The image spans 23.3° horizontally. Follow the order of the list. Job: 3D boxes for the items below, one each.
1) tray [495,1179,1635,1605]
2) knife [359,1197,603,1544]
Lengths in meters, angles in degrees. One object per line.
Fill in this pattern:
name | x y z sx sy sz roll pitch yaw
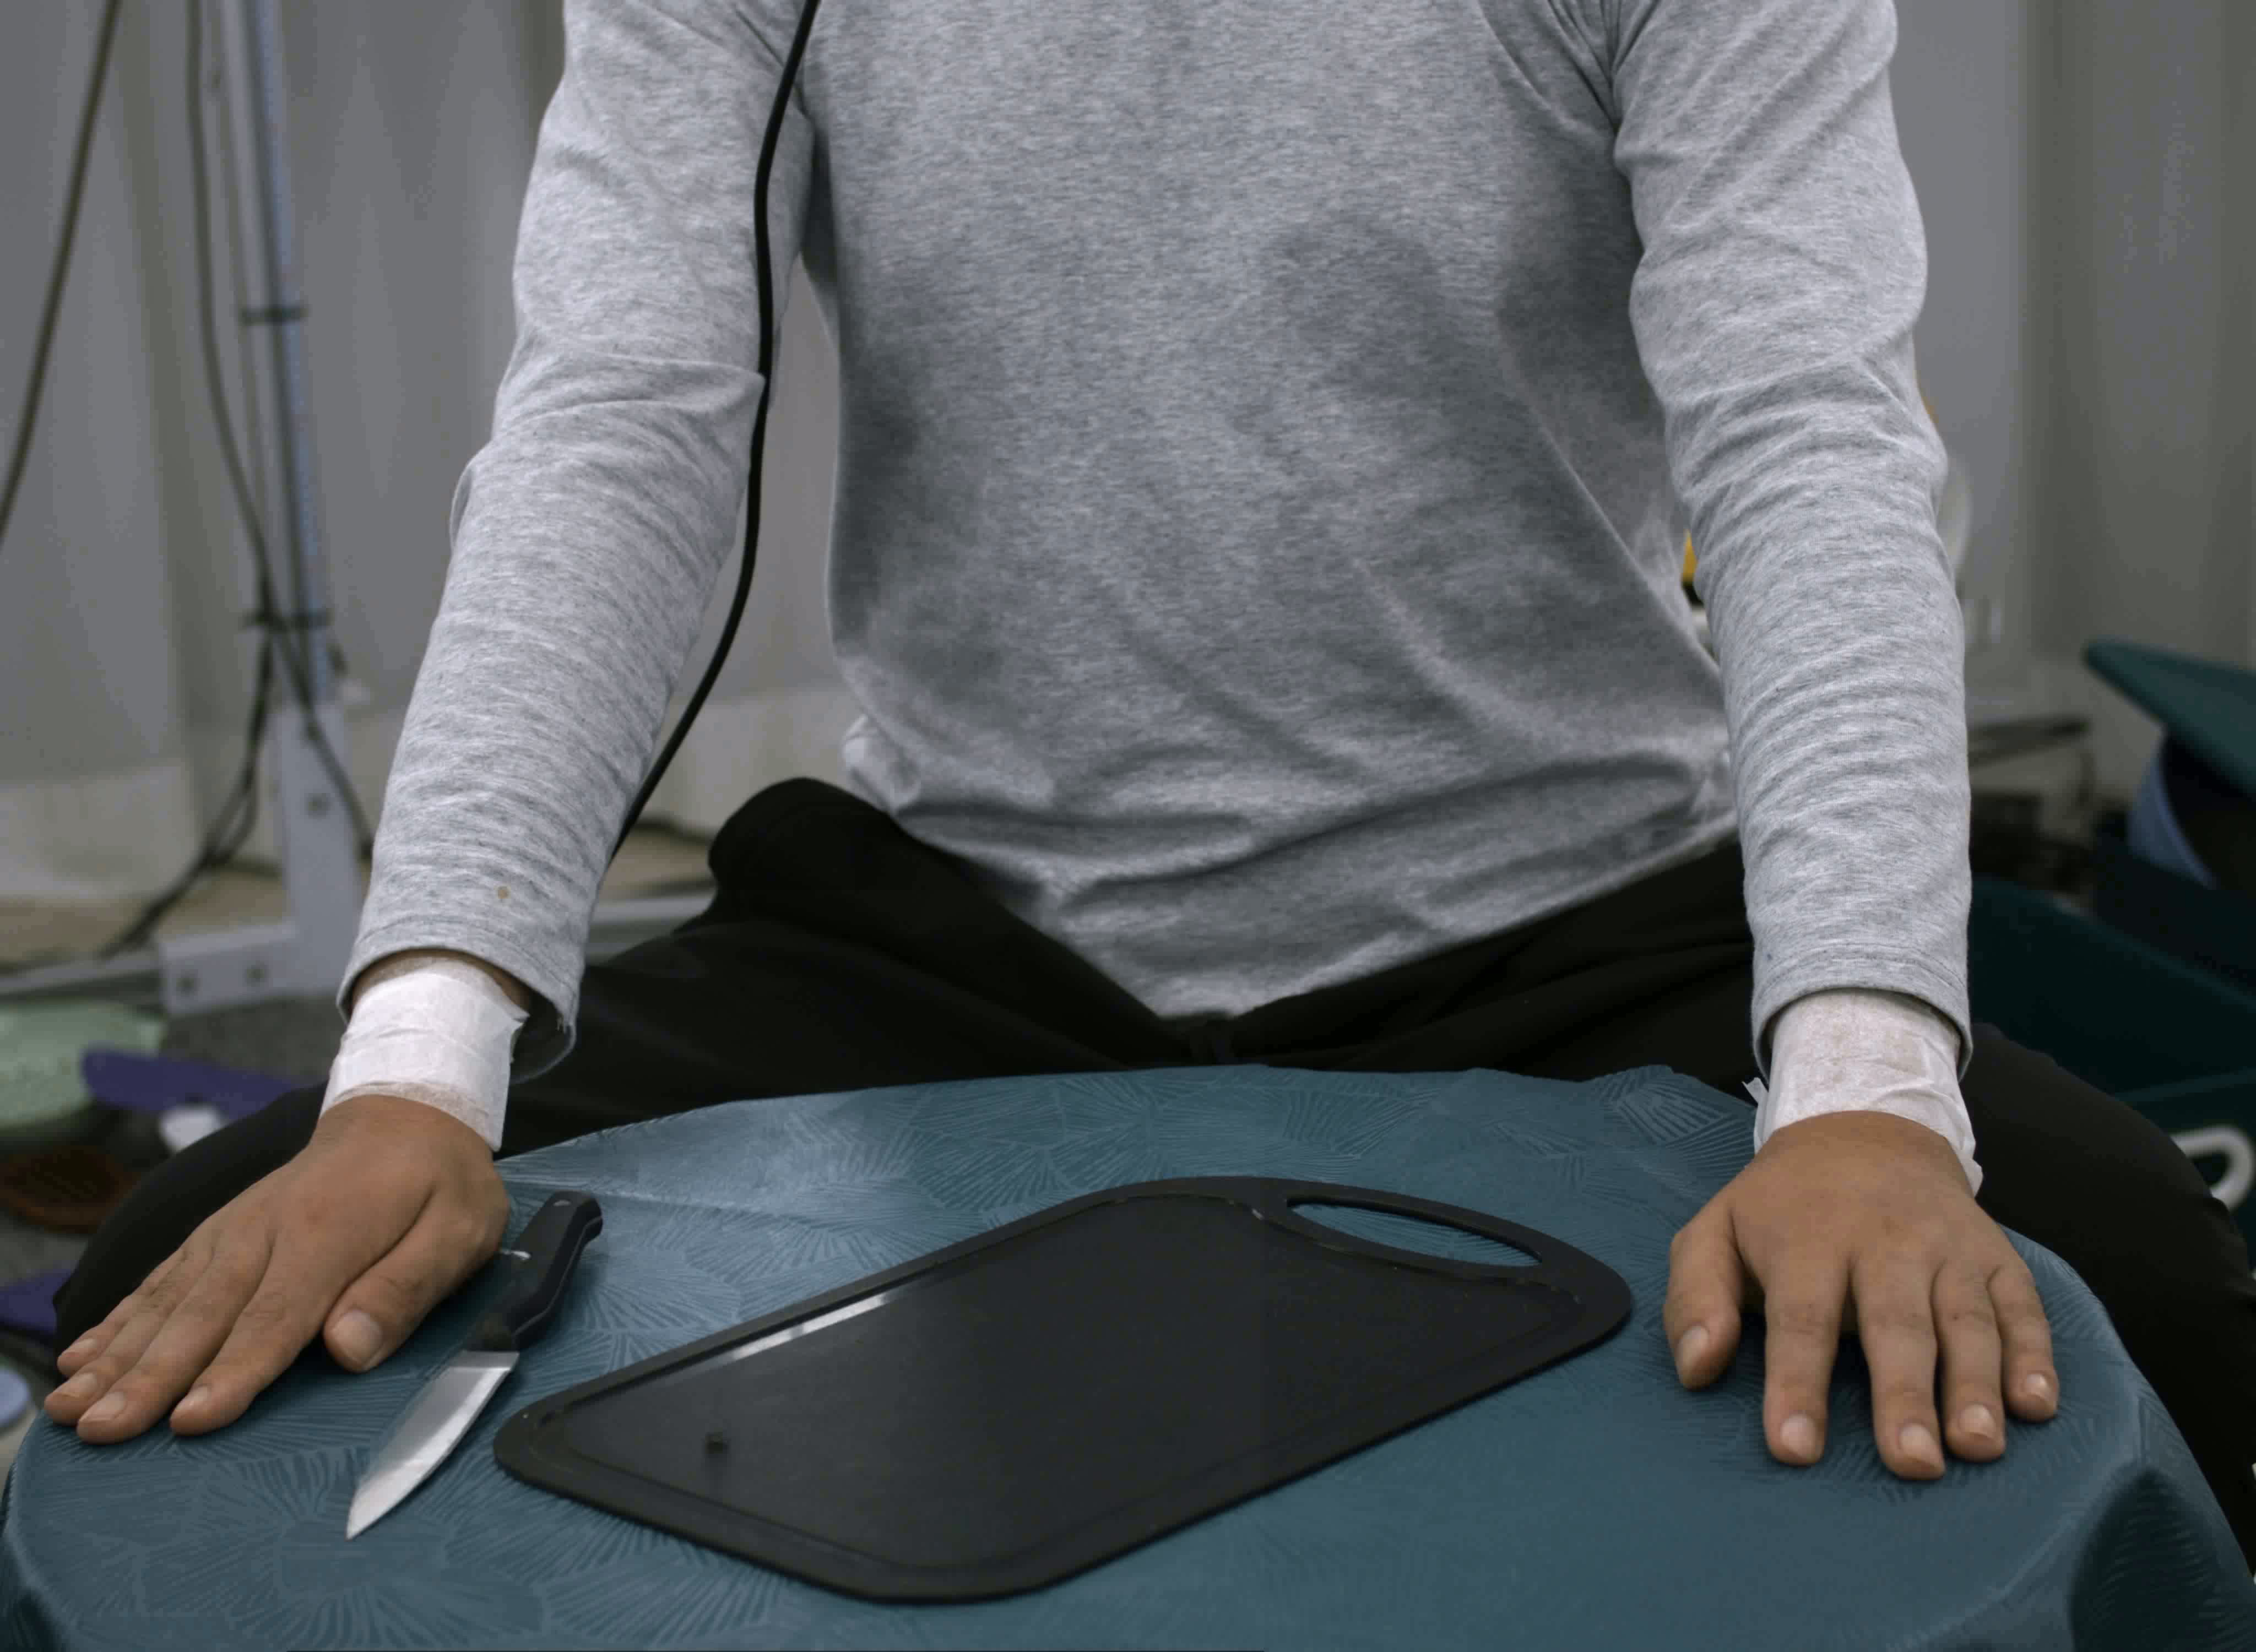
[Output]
tray | -0.009 0.152 1.566 0.212 0.010 0.325 12 21 43
knife | -0.189 0.156 1.576 0.024 0.016 0.240 -3 17 10
